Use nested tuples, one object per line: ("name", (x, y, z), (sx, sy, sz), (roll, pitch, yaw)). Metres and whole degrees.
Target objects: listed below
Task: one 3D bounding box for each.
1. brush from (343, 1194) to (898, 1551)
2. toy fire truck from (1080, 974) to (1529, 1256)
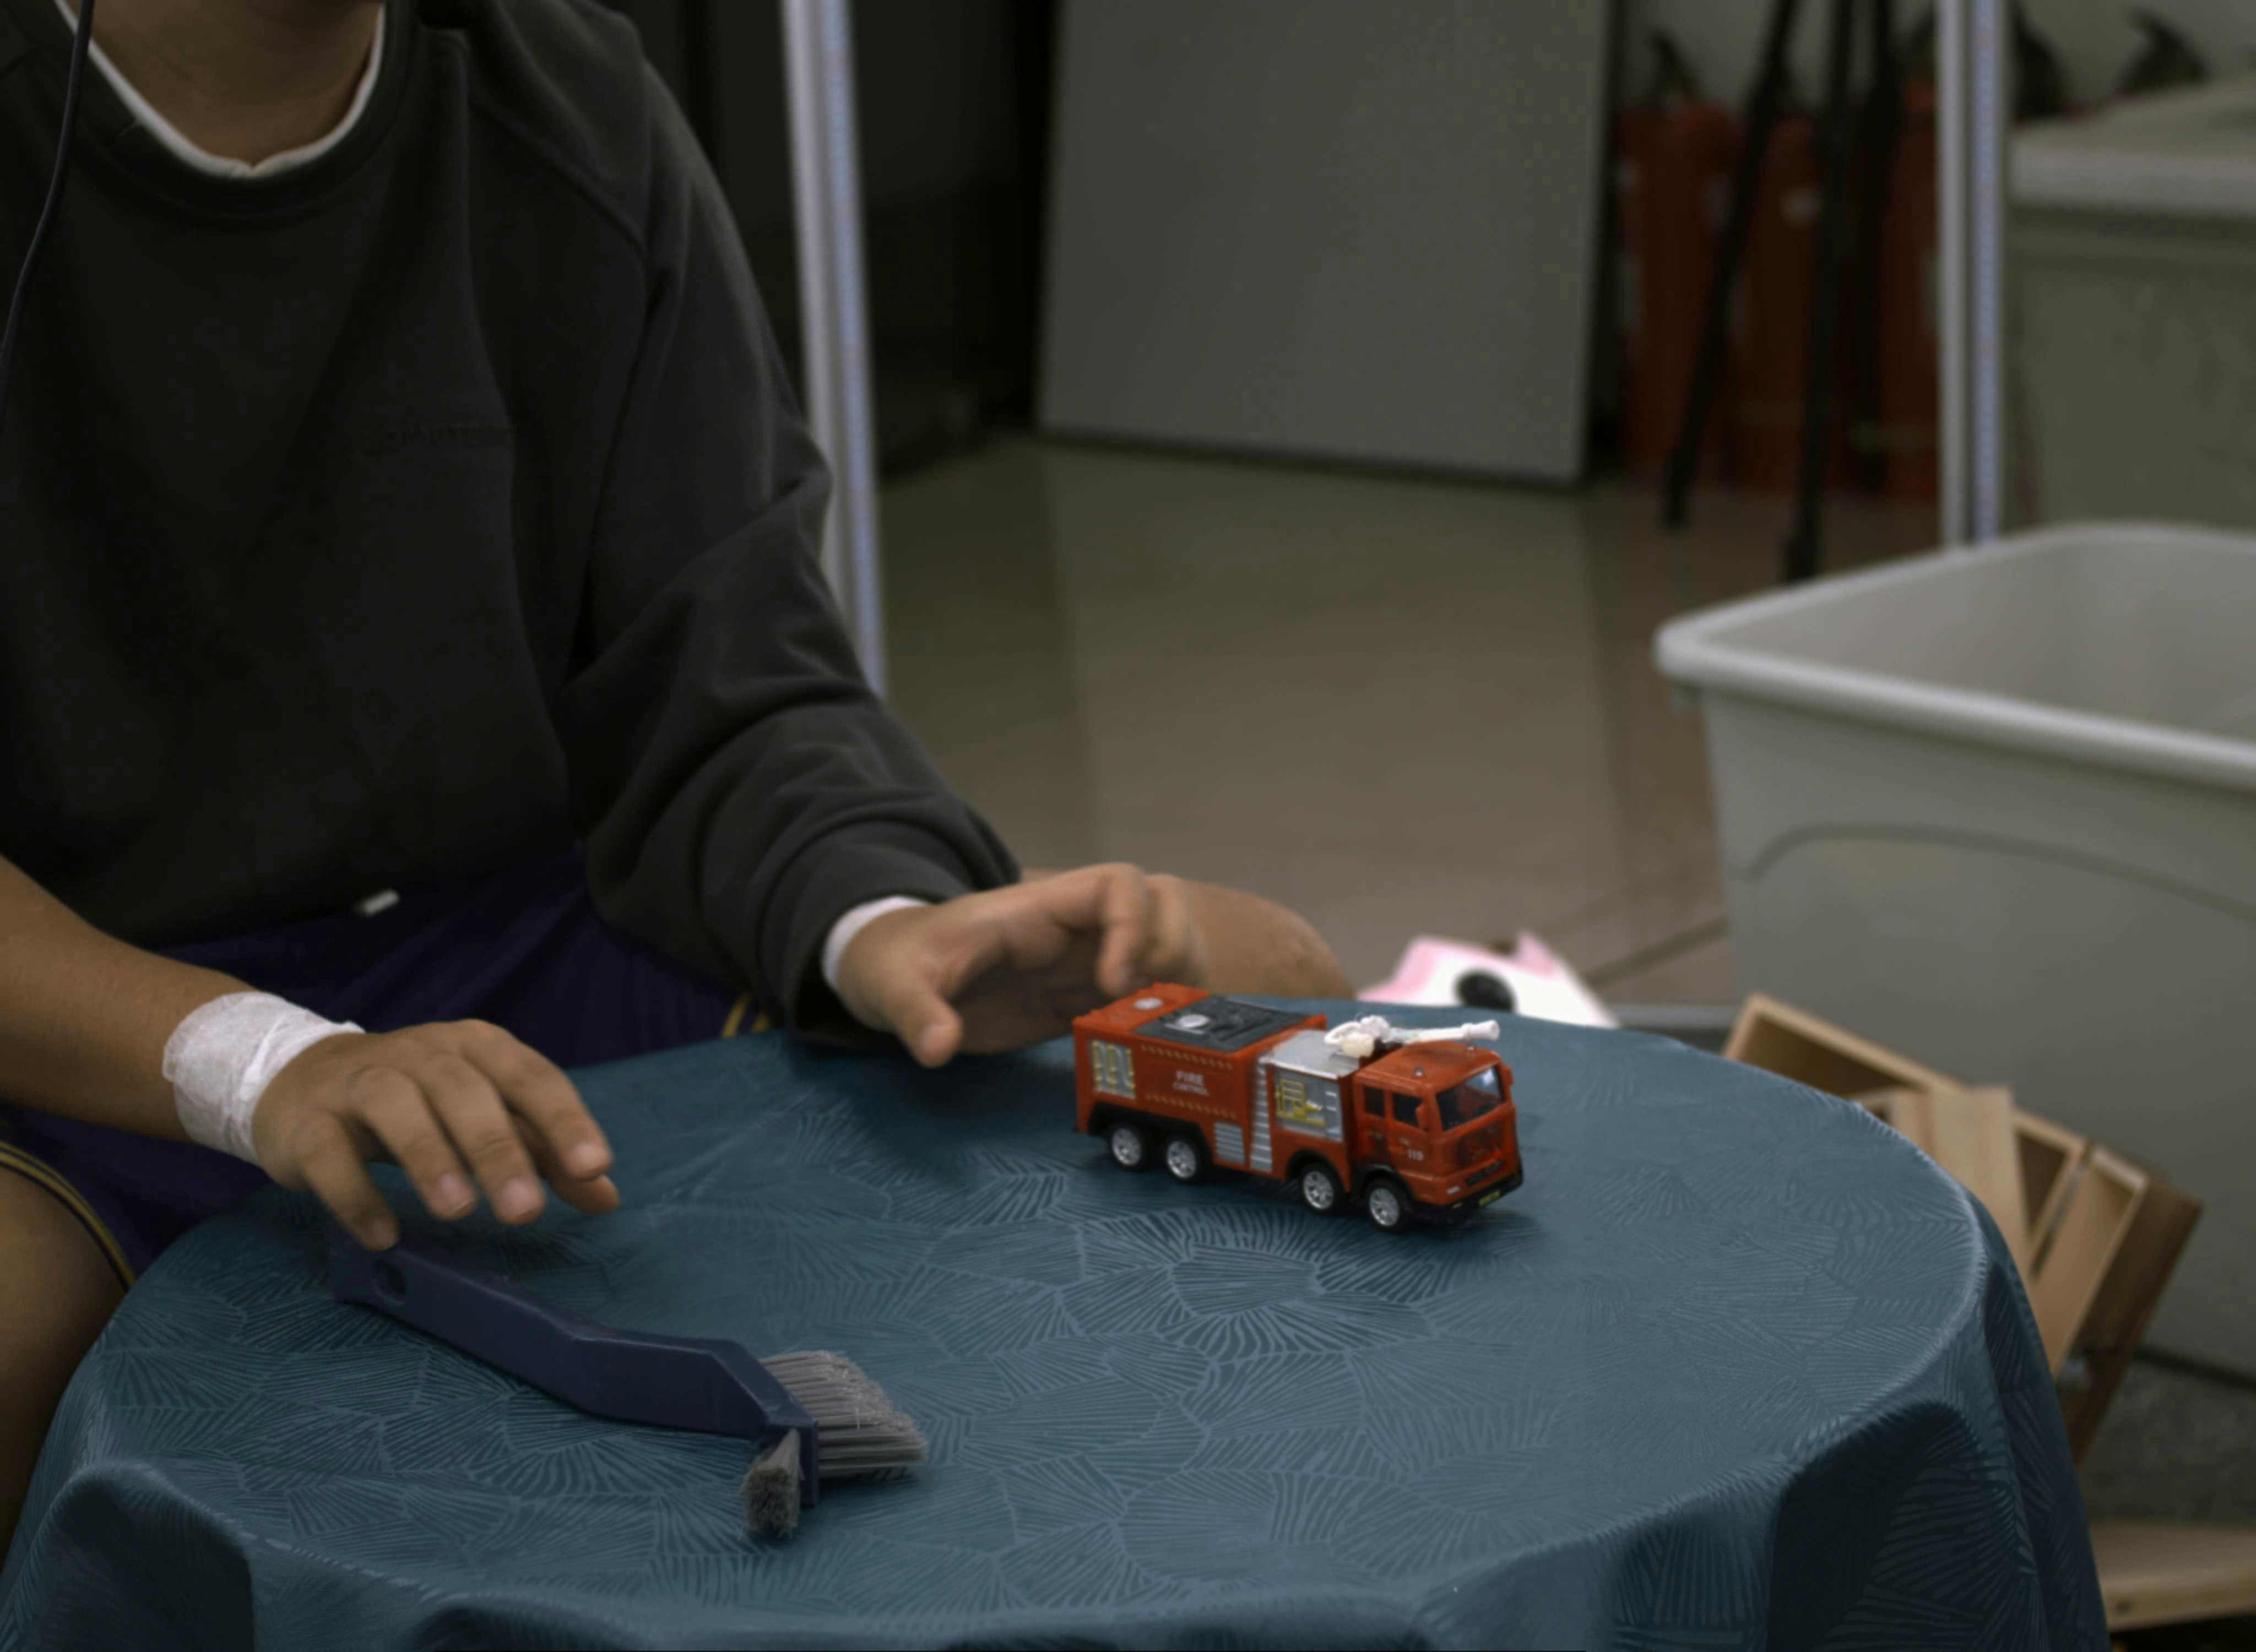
("brush", (-0.170, 0.158, 1.599), (0.094, 0.034, 0.276), (-16, 19, -43))
("toy fire truck", (0.056, 0.090, 1.753), (0.169, 0.071, 0.053), (8, 21, 44))
